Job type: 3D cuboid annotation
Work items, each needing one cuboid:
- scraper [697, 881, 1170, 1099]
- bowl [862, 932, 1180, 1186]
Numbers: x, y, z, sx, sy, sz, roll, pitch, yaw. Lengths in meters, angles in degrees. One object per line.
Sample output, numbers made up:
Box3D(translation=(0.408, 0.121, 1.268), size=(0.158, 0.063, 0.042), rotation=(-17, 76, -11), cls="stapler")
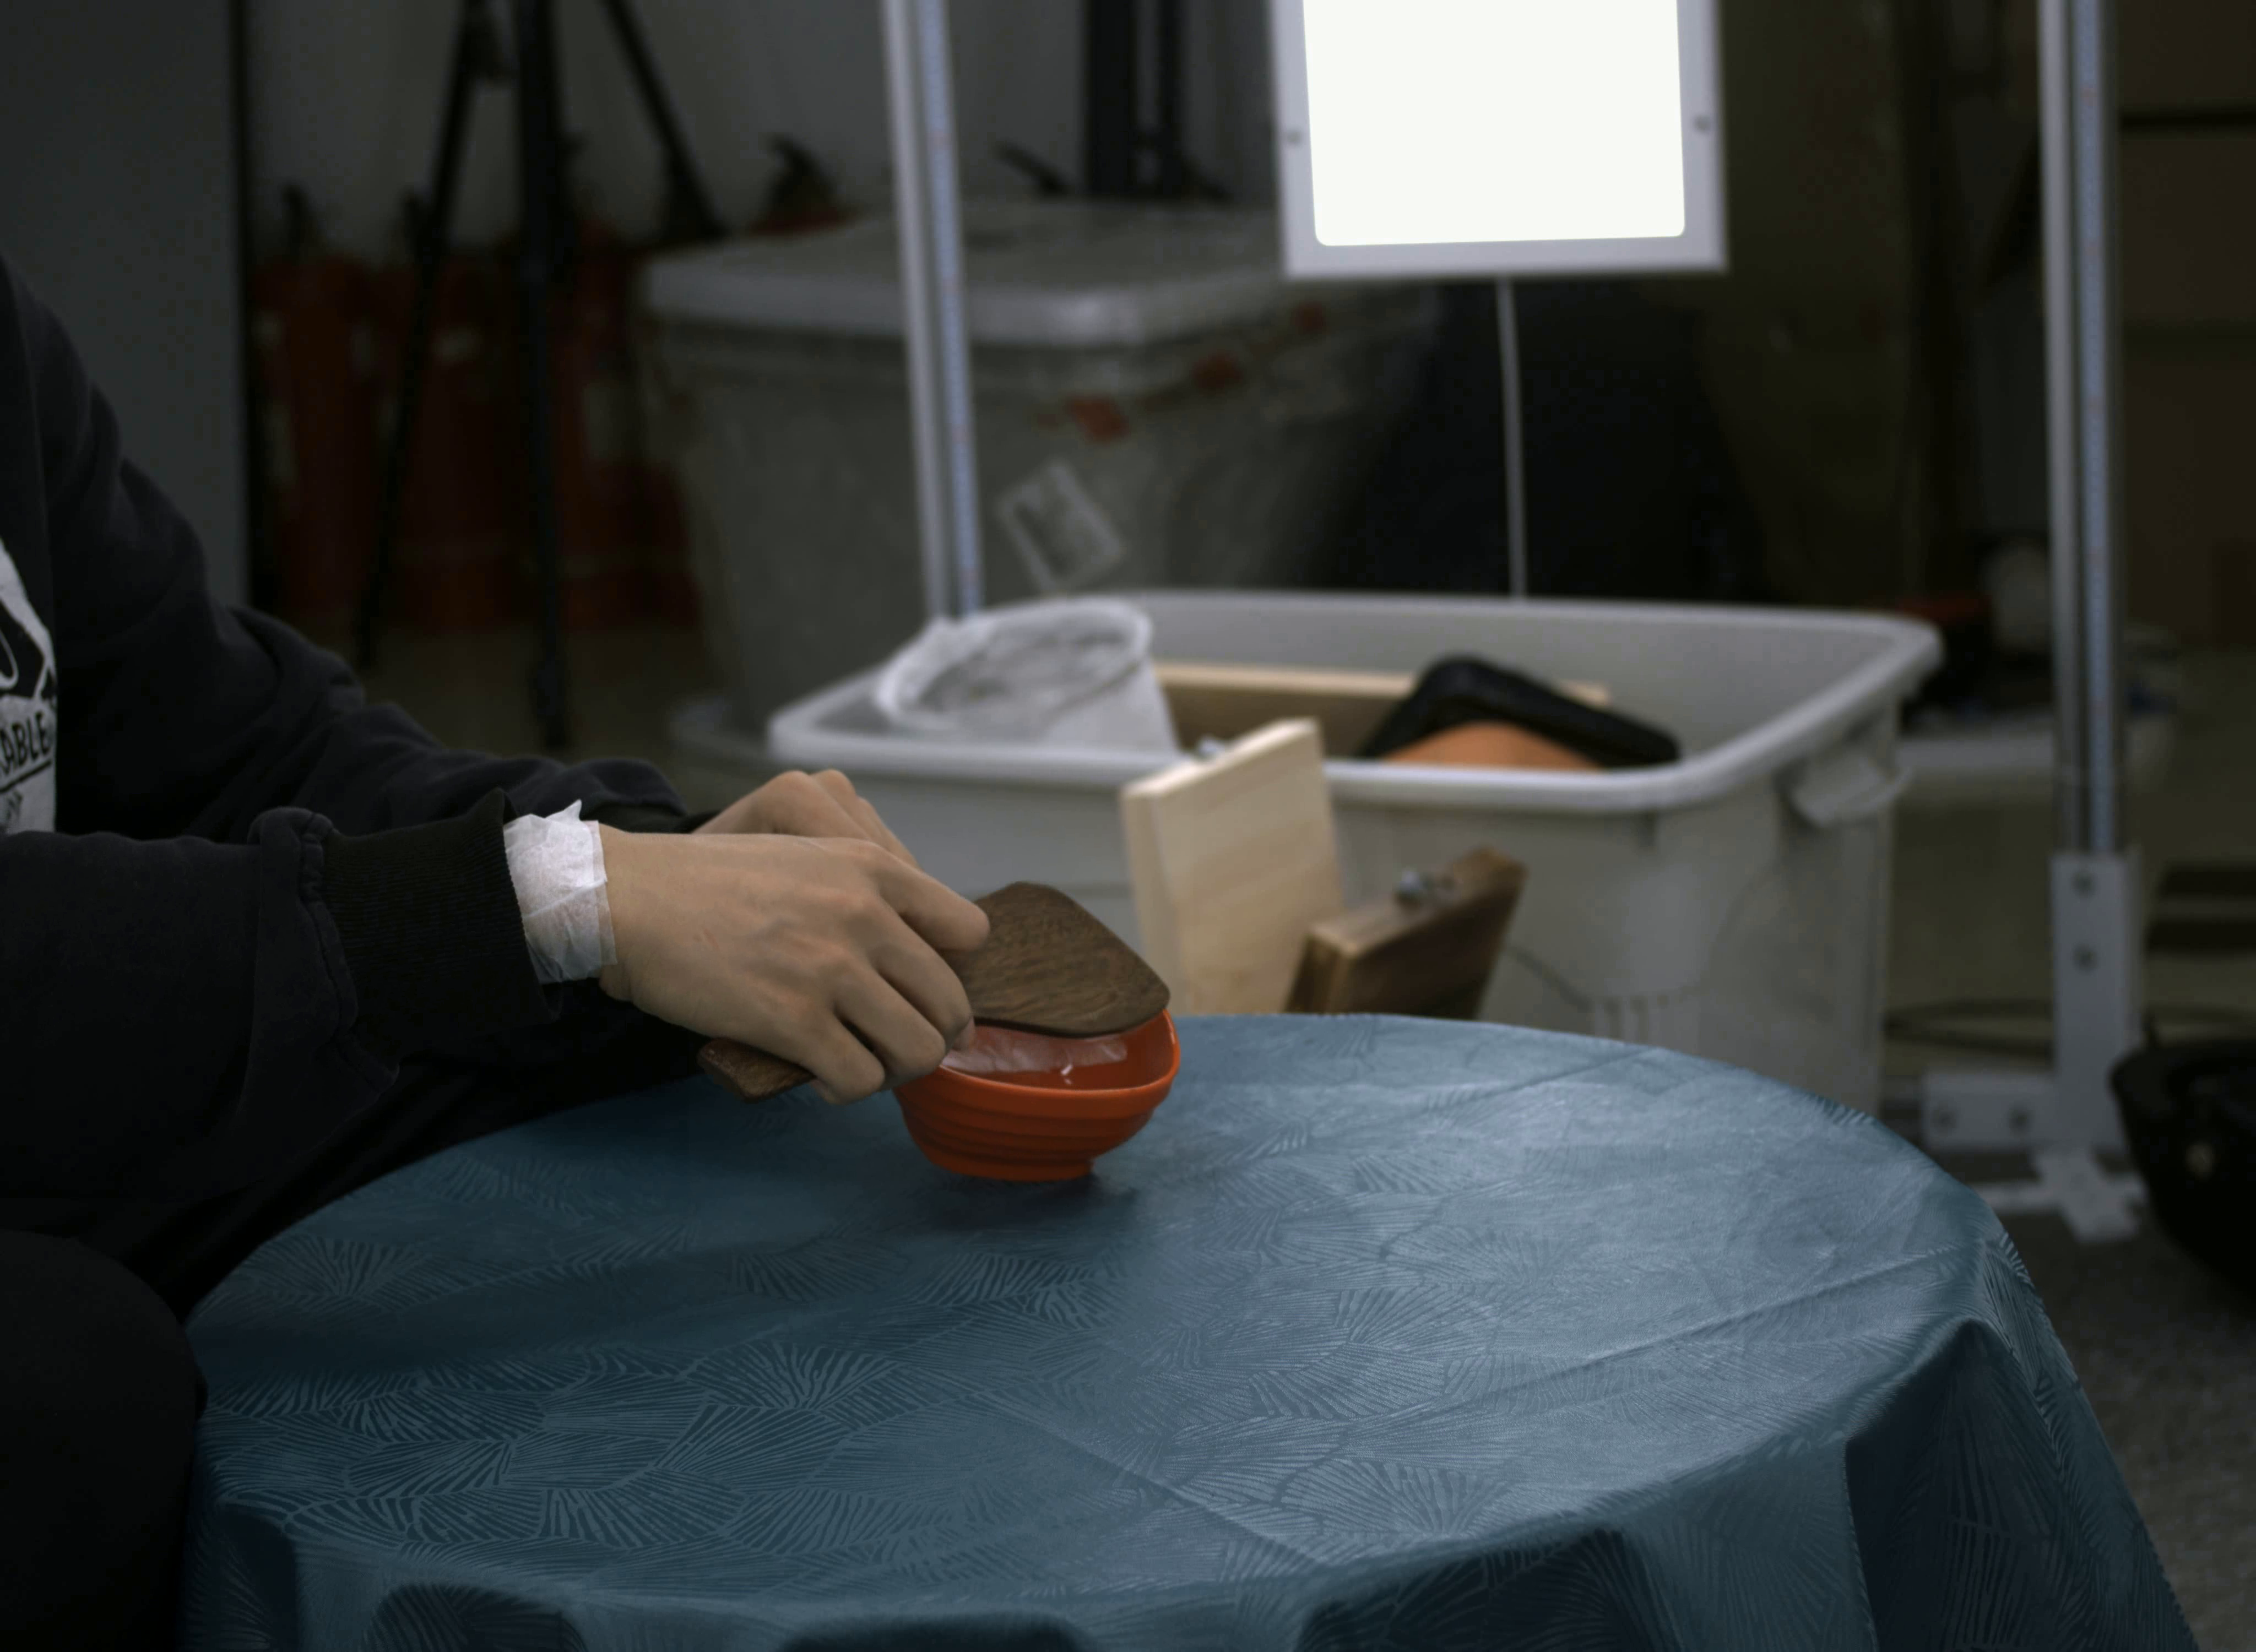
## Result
Box3D(translation=(-0.070, 0.062, 1.863), size=(0.076, 0.011, 0.206), rotation=(41, 33, 24), cls="scraper")
Box3D(translation=(-0.042, 0.086, 1.927), size=(0.118, 0.052, 0.118), rotation=(9, 28, -6), cls="bowl")
